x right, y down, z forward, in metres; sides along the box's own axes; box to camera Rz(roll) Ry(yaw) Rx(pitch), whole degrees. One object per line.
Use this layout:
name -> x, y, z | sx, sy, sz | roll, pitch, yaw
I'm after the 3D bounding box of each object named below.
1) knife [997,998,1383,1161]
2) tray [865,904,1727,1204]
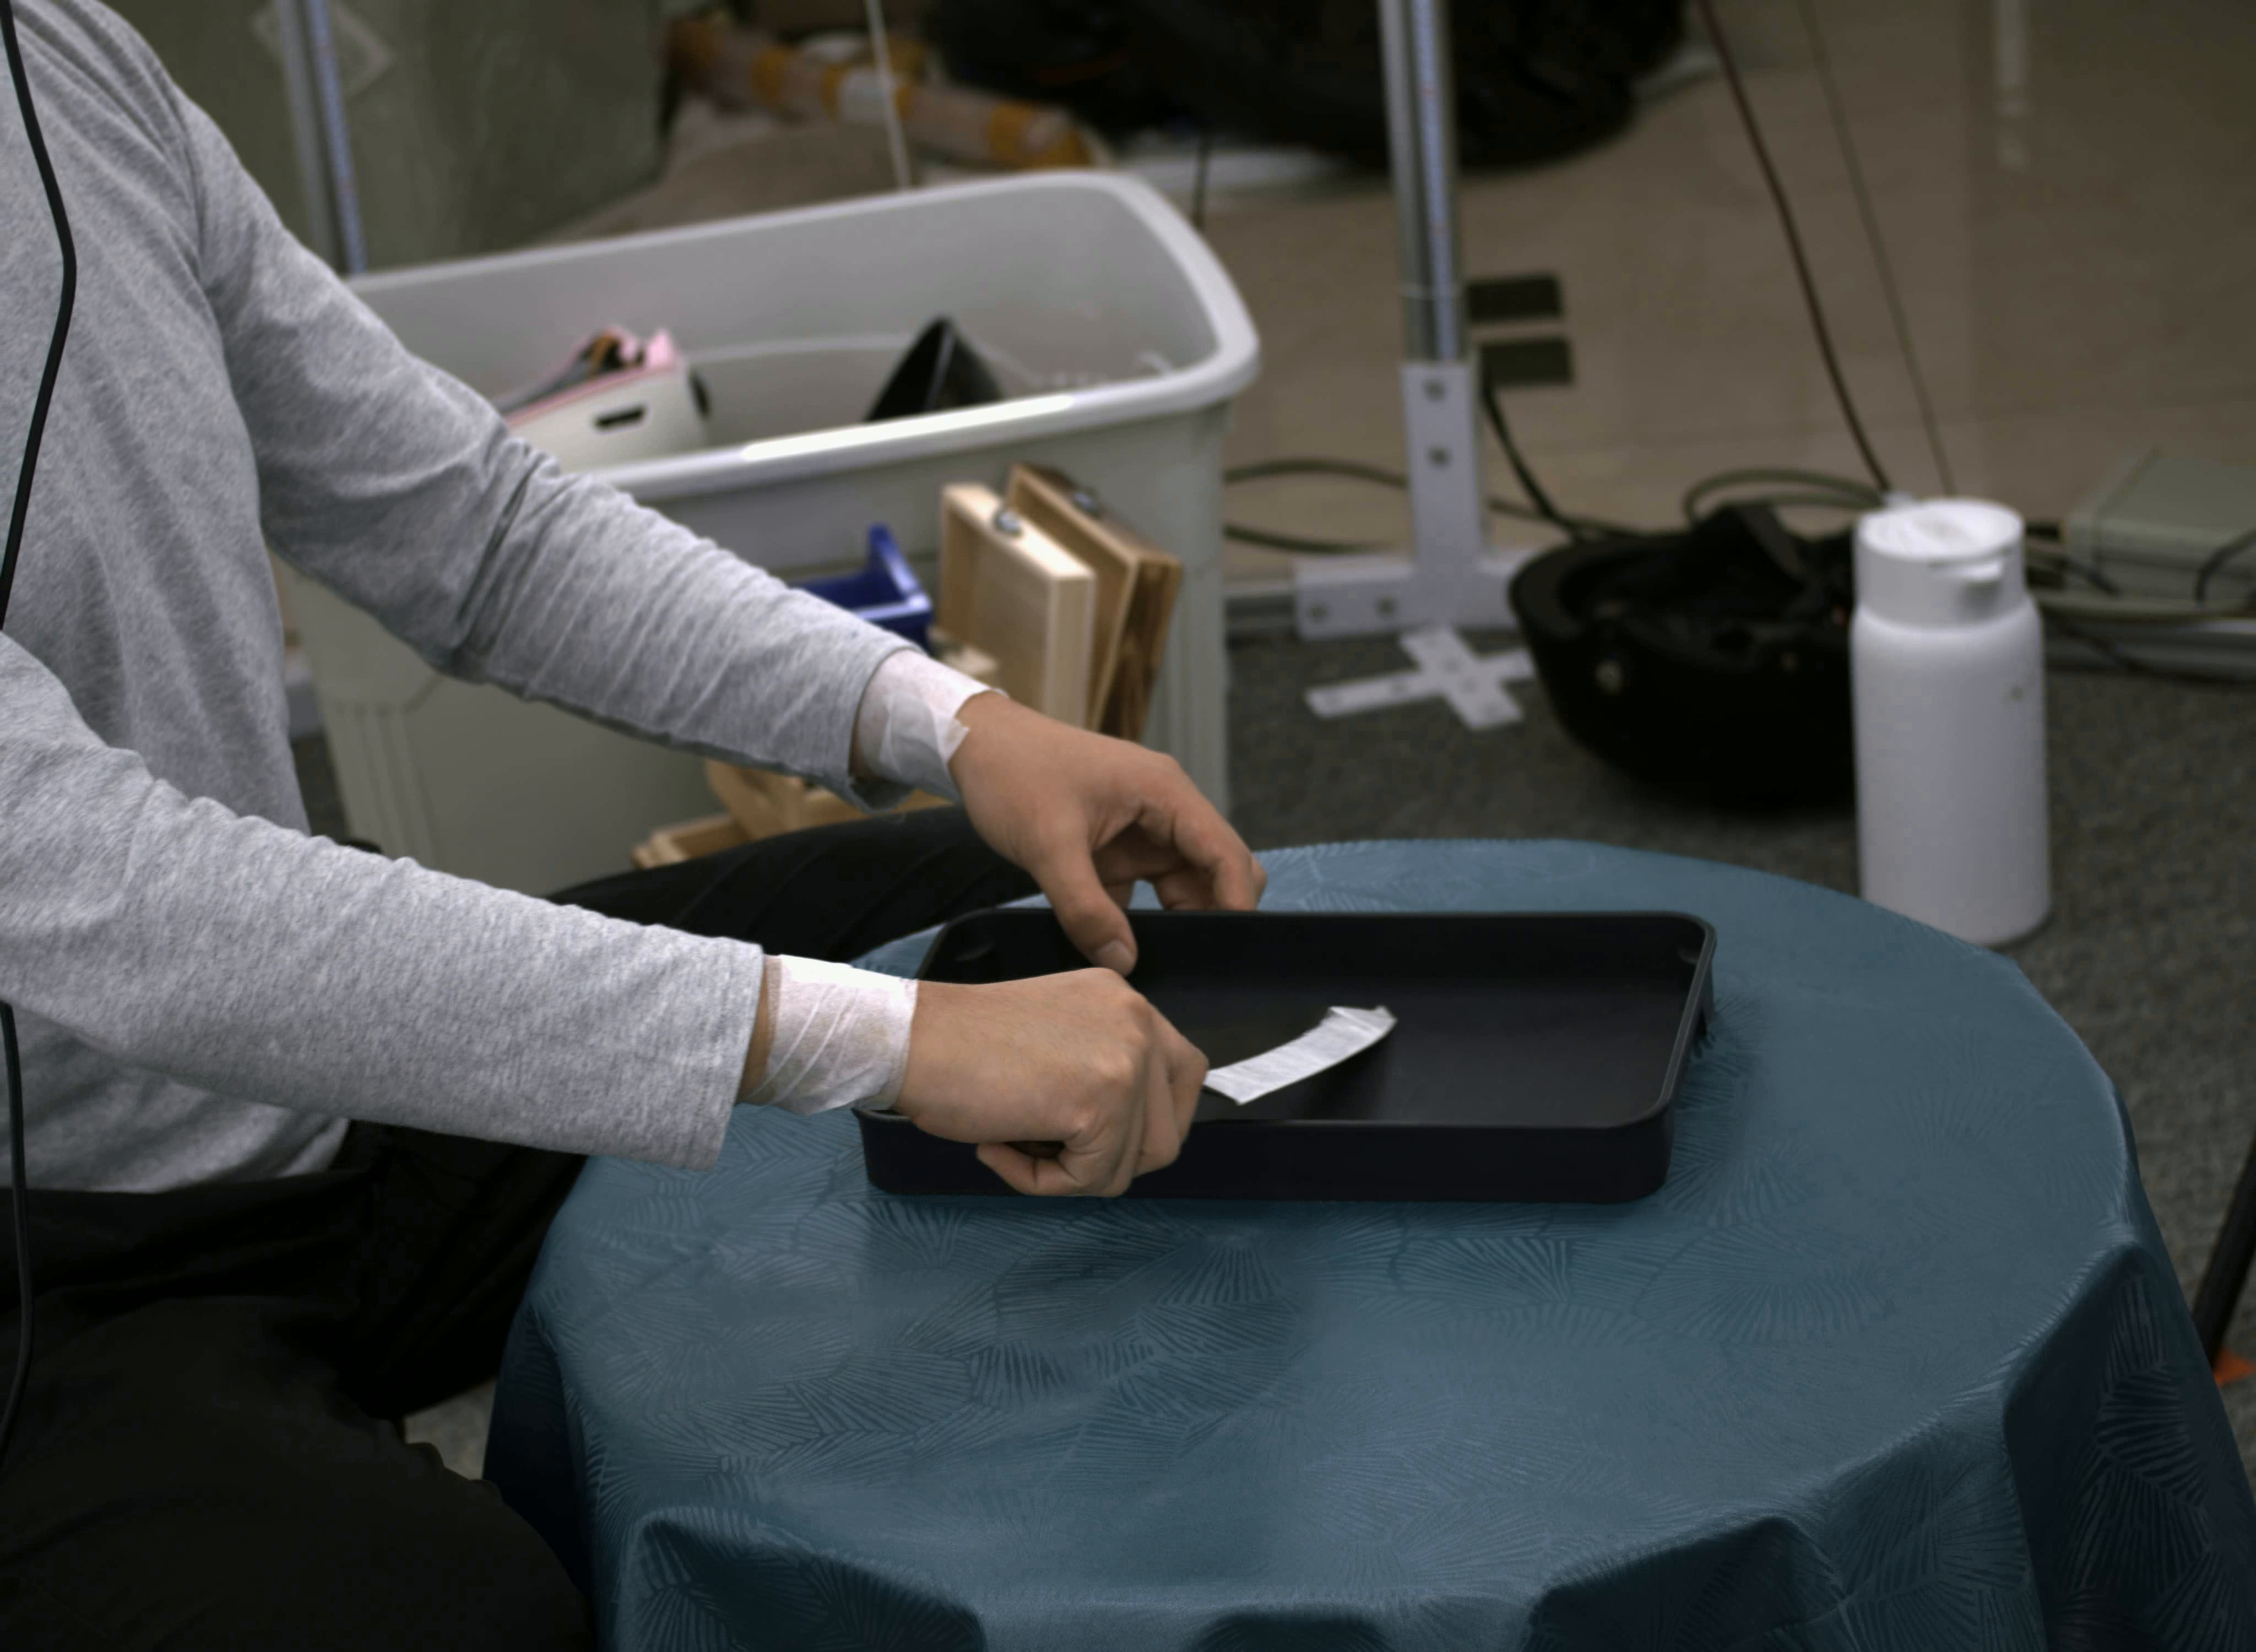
knife -> 0.029, 0.091, 2.127 | 0.050, 0.020, 0.288 | 26, 18, 23
tray -> 0.069, 0.087, 2.203 | 0.317, 0.037, 0.181 | -1, 25, 12
